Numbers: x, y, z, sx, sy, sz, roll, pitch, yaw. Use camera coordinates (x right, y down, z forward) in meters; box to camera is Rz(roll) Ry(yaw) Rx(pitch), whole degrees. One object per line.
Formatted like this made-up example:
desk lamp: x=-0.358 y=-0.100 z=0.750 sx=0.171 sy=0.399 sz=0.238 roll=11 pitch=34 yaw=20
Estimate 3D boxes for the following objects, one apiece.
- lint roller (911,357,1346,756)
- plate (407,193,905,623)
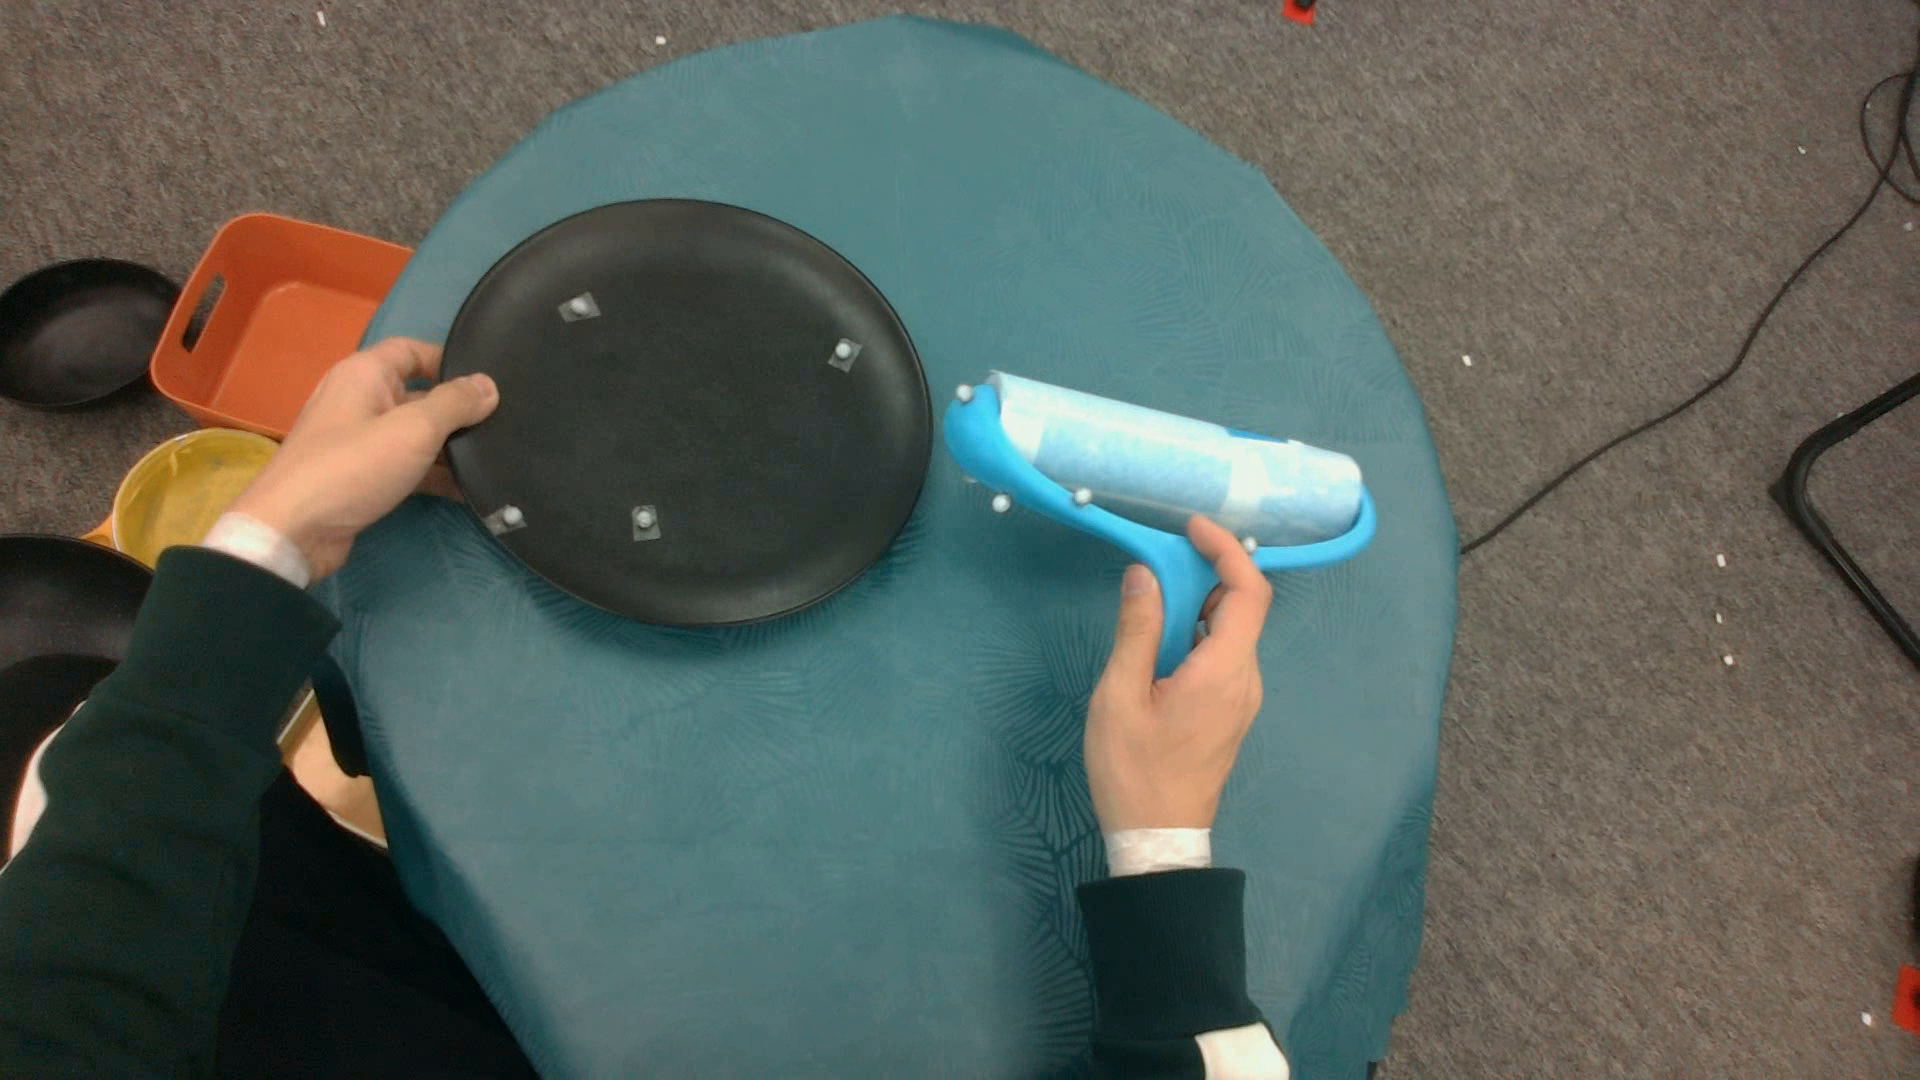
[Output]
lint roller: x=0.086 y=0.010 z=0.661 sx=0.229 sy=0.067 sz=0.180 roll=7 pitch=73 yaw=-21
plate: x=-0.149 y=-0.069 z=0.698 sx=0.244 sy=0.023 sz=0.245 roll=6 pitch=65 yaw=-14
